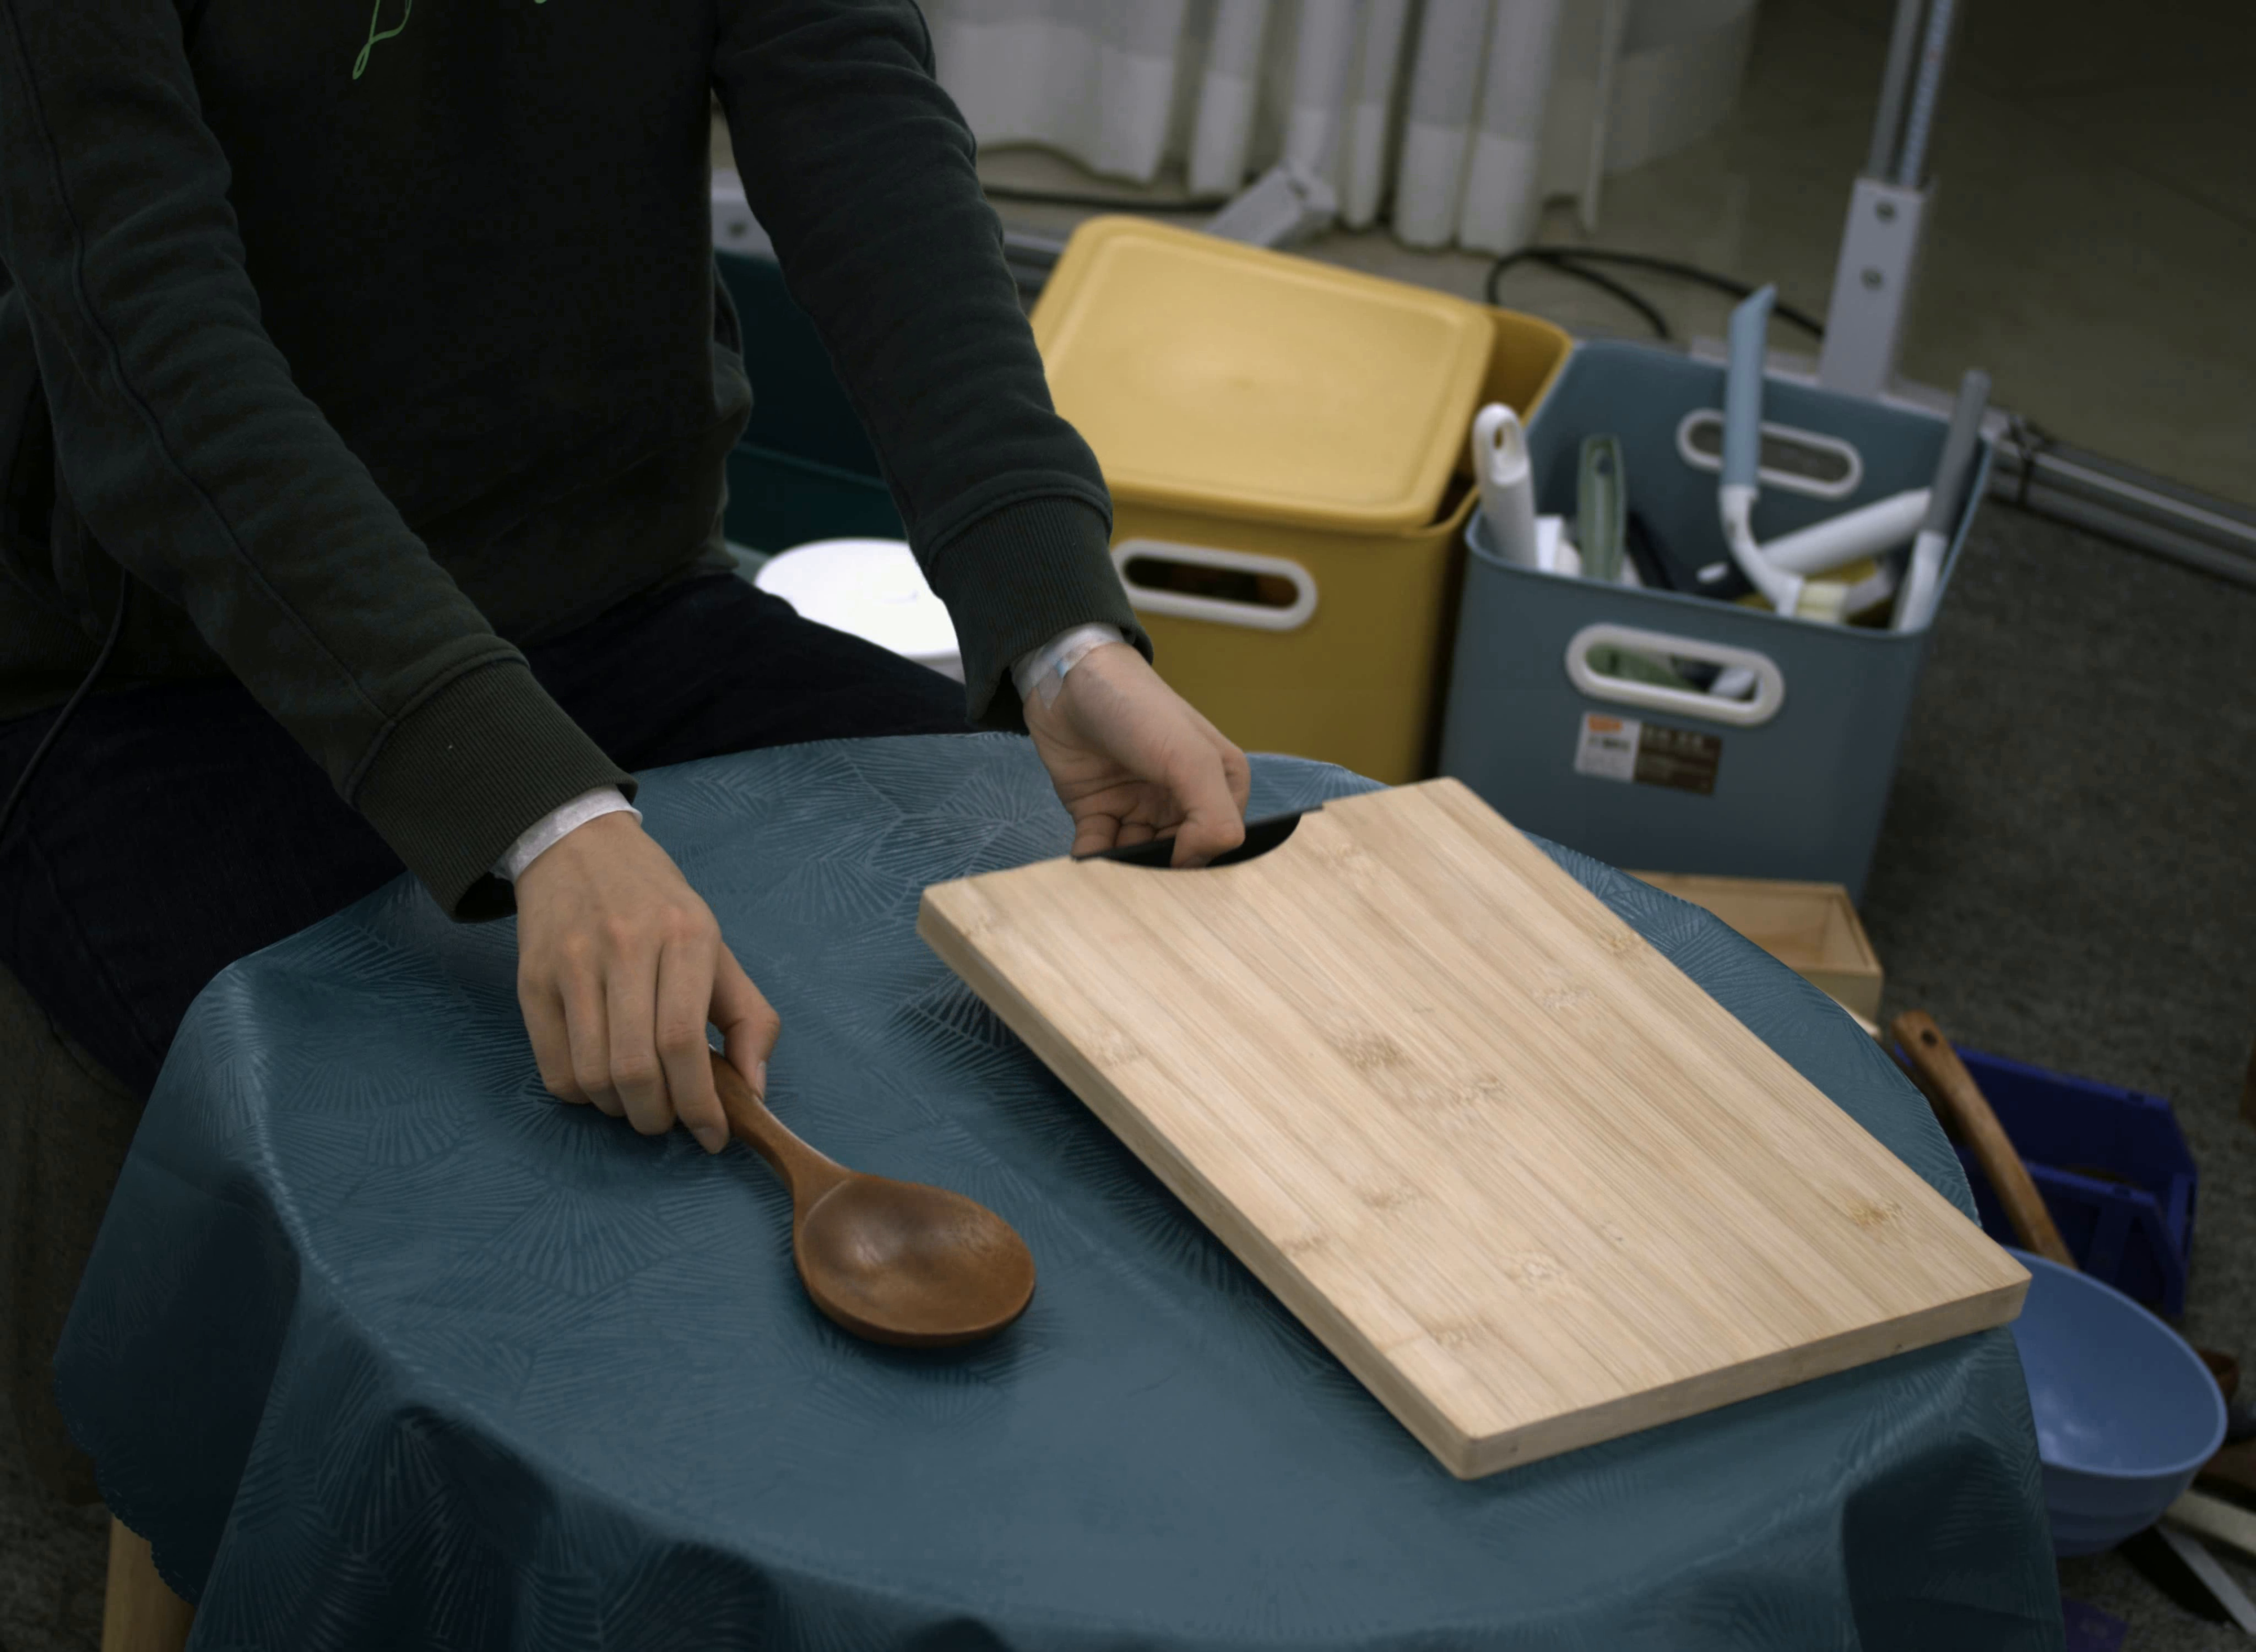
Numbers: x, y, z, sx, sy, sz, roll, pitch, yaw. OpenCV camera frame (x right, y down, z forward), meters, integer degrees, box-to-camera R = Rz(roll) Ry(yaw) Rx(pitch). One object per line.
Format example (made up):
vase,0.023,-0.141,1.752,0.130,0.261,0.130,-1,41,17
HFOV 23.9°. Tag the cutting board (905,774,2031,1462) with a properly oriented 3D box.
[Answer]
cutting board,0.111,0.092,1.843,0.249,0.023,0.352,-11,36,-33

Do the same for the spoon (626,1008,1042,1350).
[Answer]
spoon,-0.105,0.116,1.766,0.075,0.017,0.218,-20,38,-29
